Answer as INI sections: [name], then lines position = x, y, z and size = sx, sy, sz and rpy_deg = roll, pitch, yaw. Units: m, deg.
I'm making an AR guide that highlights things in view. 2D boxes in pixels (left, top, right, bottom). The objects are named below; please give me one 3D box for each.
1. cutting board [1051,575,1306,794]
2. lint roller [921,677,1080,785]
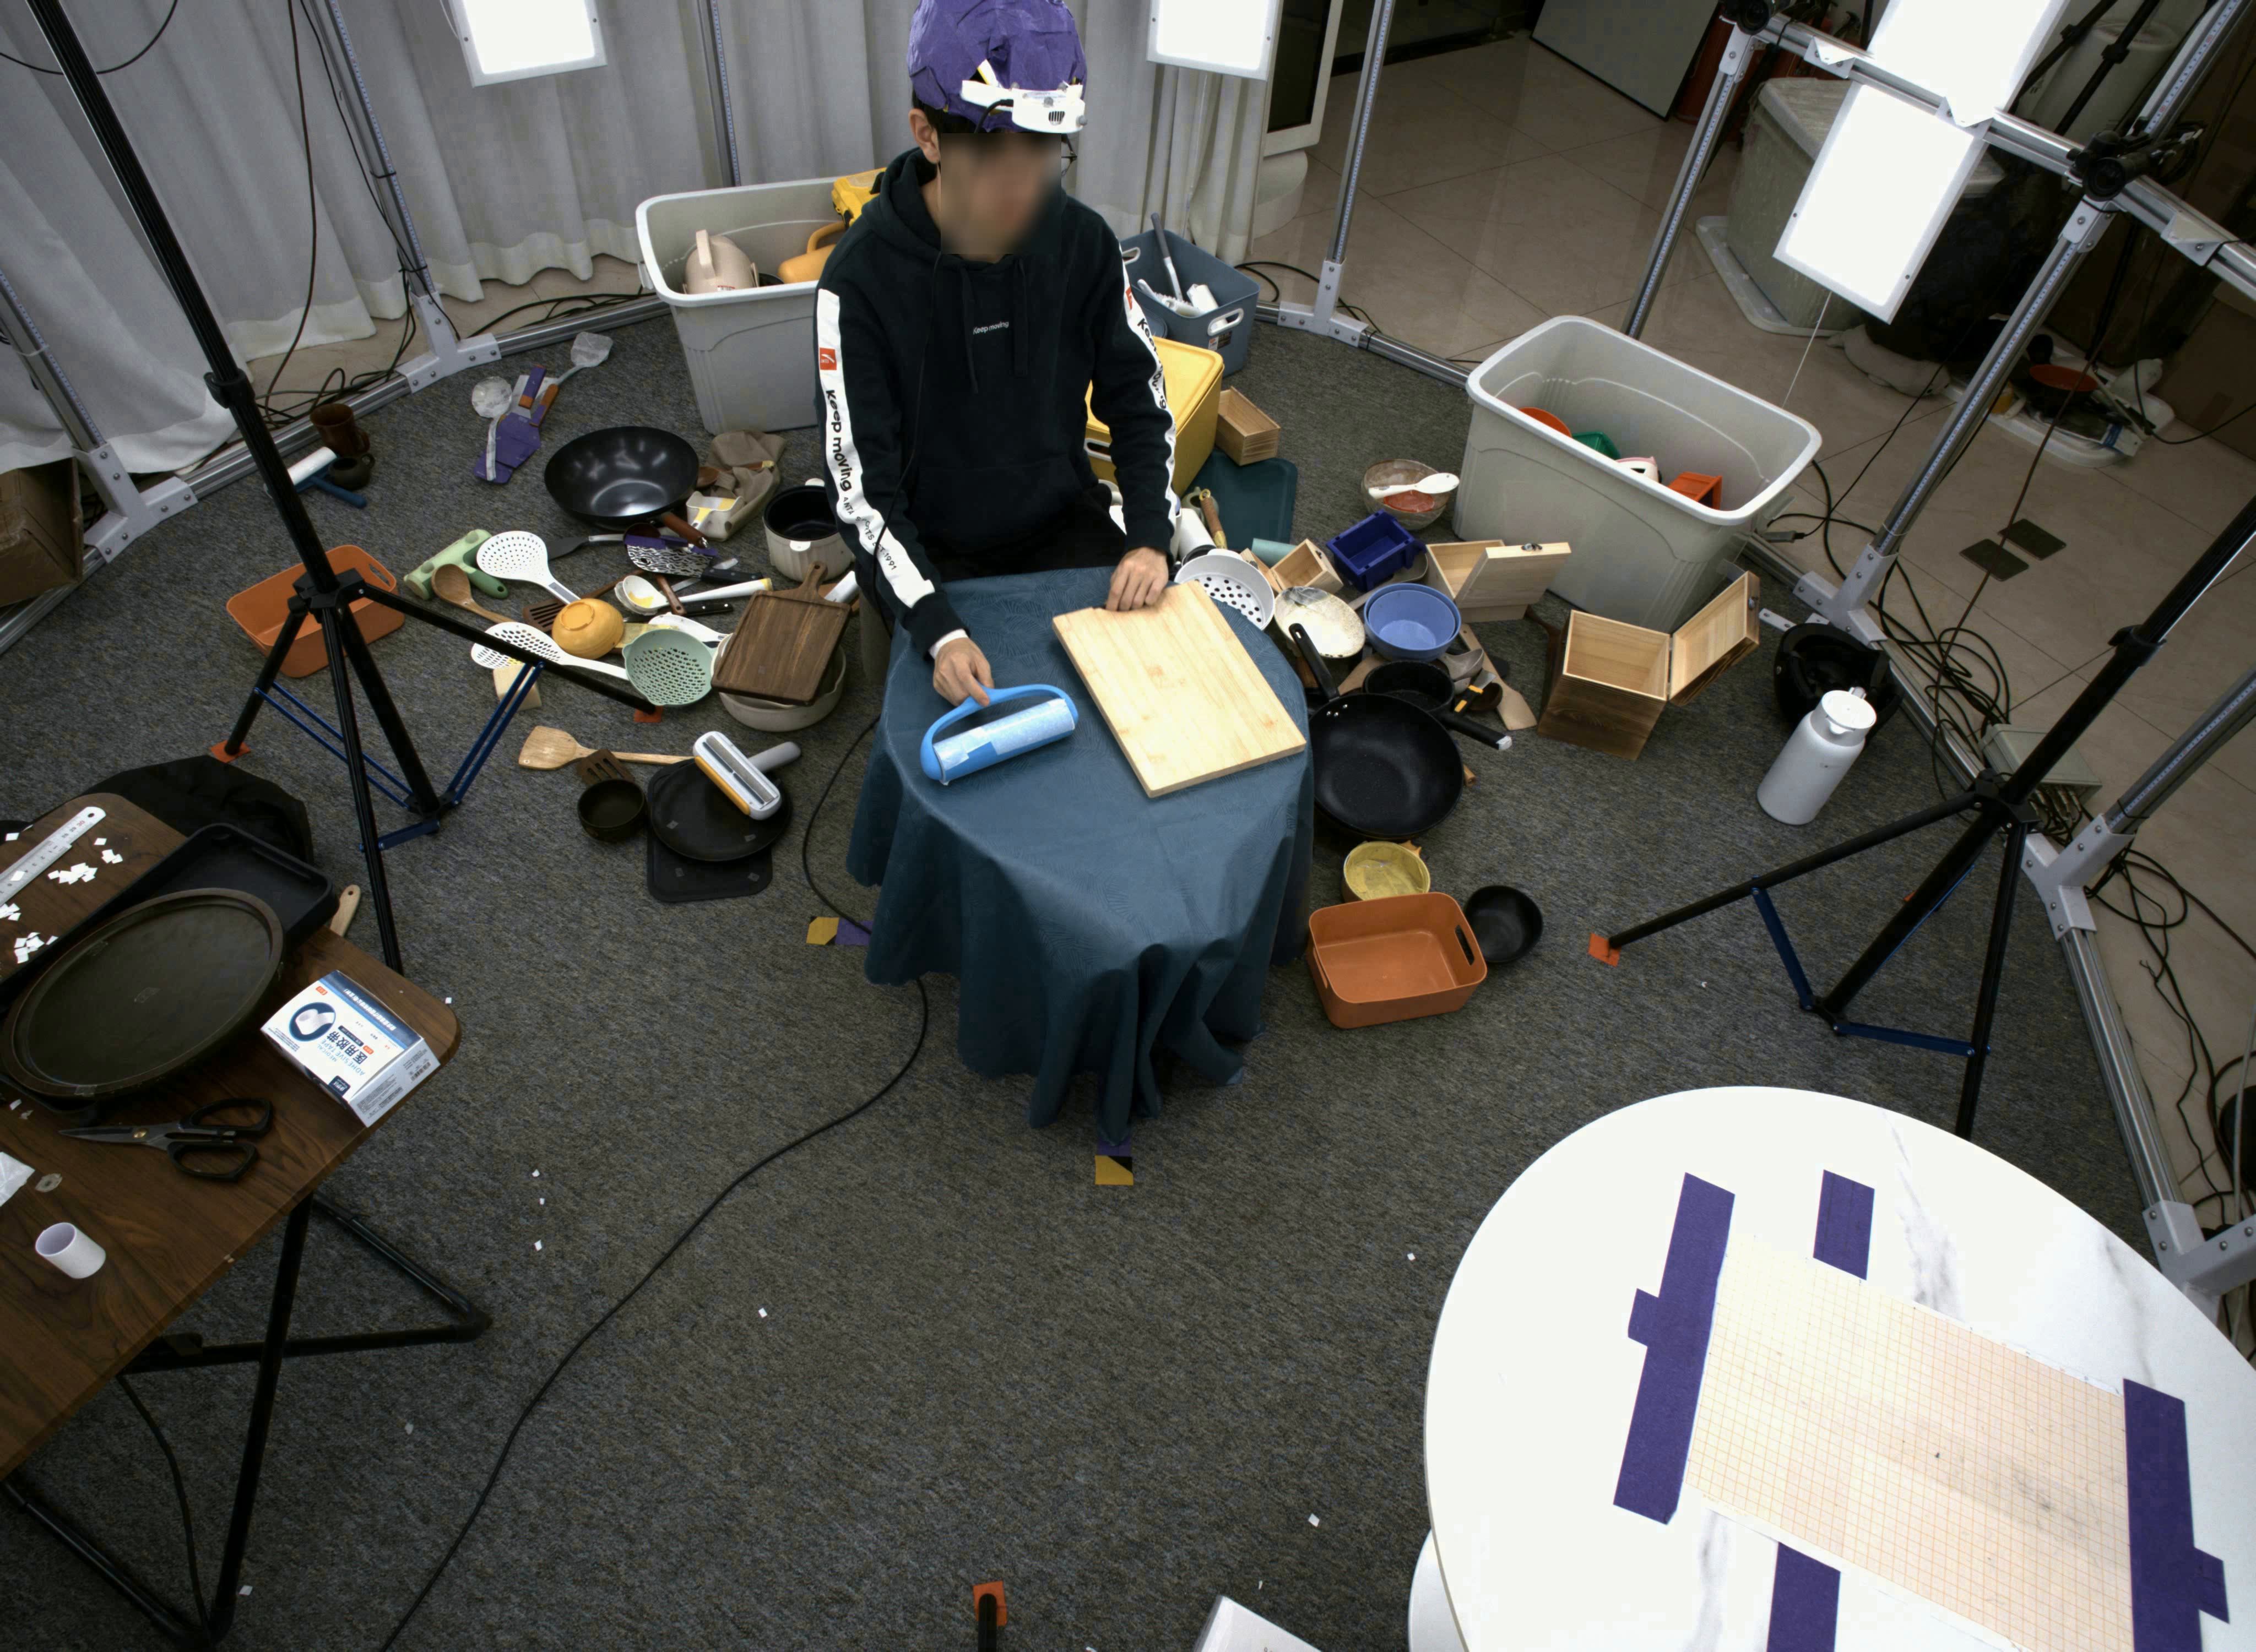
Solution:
[cutting board]
position = 0.066, -0.209, 1.827
size = 0.251, 0.023, 0.356
rpy_deg = -18, 57, -18
[lint roller]
position = -0.199, -0.156, 1.748
size = 0.230, 0.066, 0.184
rpy_deg = -26, 58, -21
